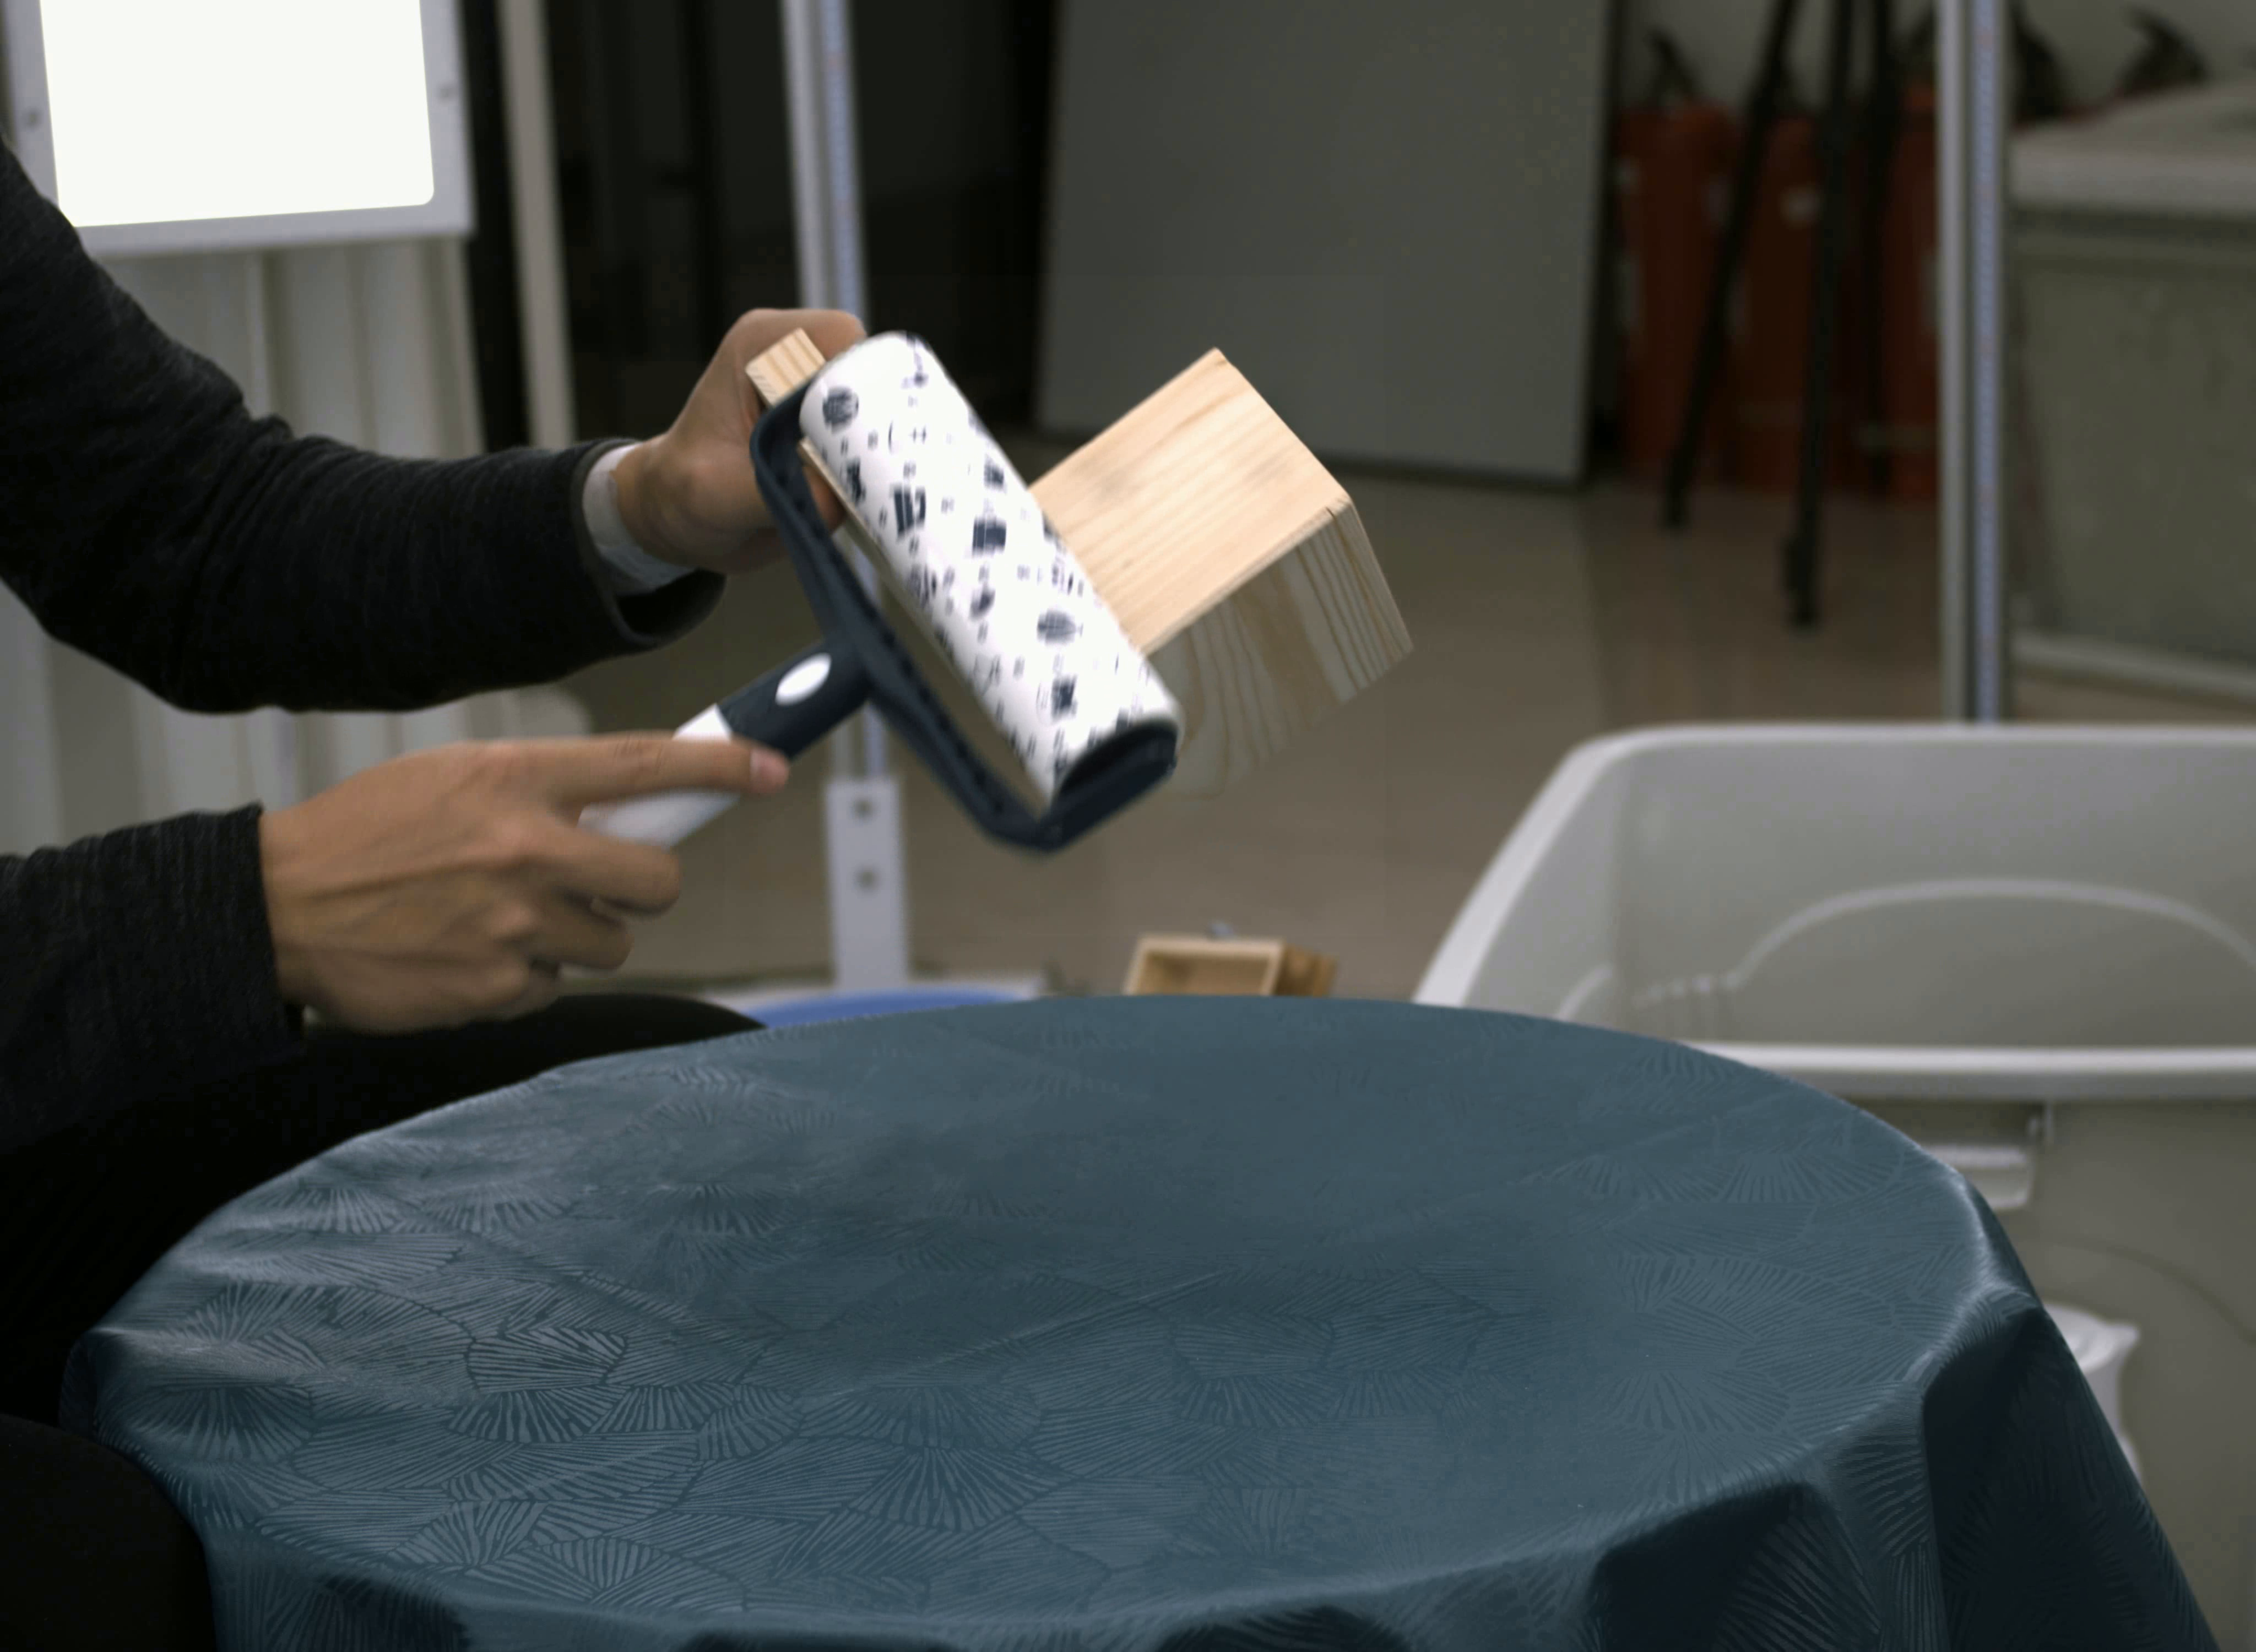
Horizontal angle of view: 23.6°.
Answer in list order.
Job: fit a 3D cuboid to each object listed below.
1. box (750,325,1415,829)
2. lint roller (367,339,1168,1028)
[{"bbox_3d":[-0.014,-0.106,1.762,0.133,0.102,0.186,-37,59,-5],"label":"box"},{"bbox_3d":[-0.127,-0.017,1.636,0.246,0.178,0.050,-34,-26,1],"label":"lint roller"}]
